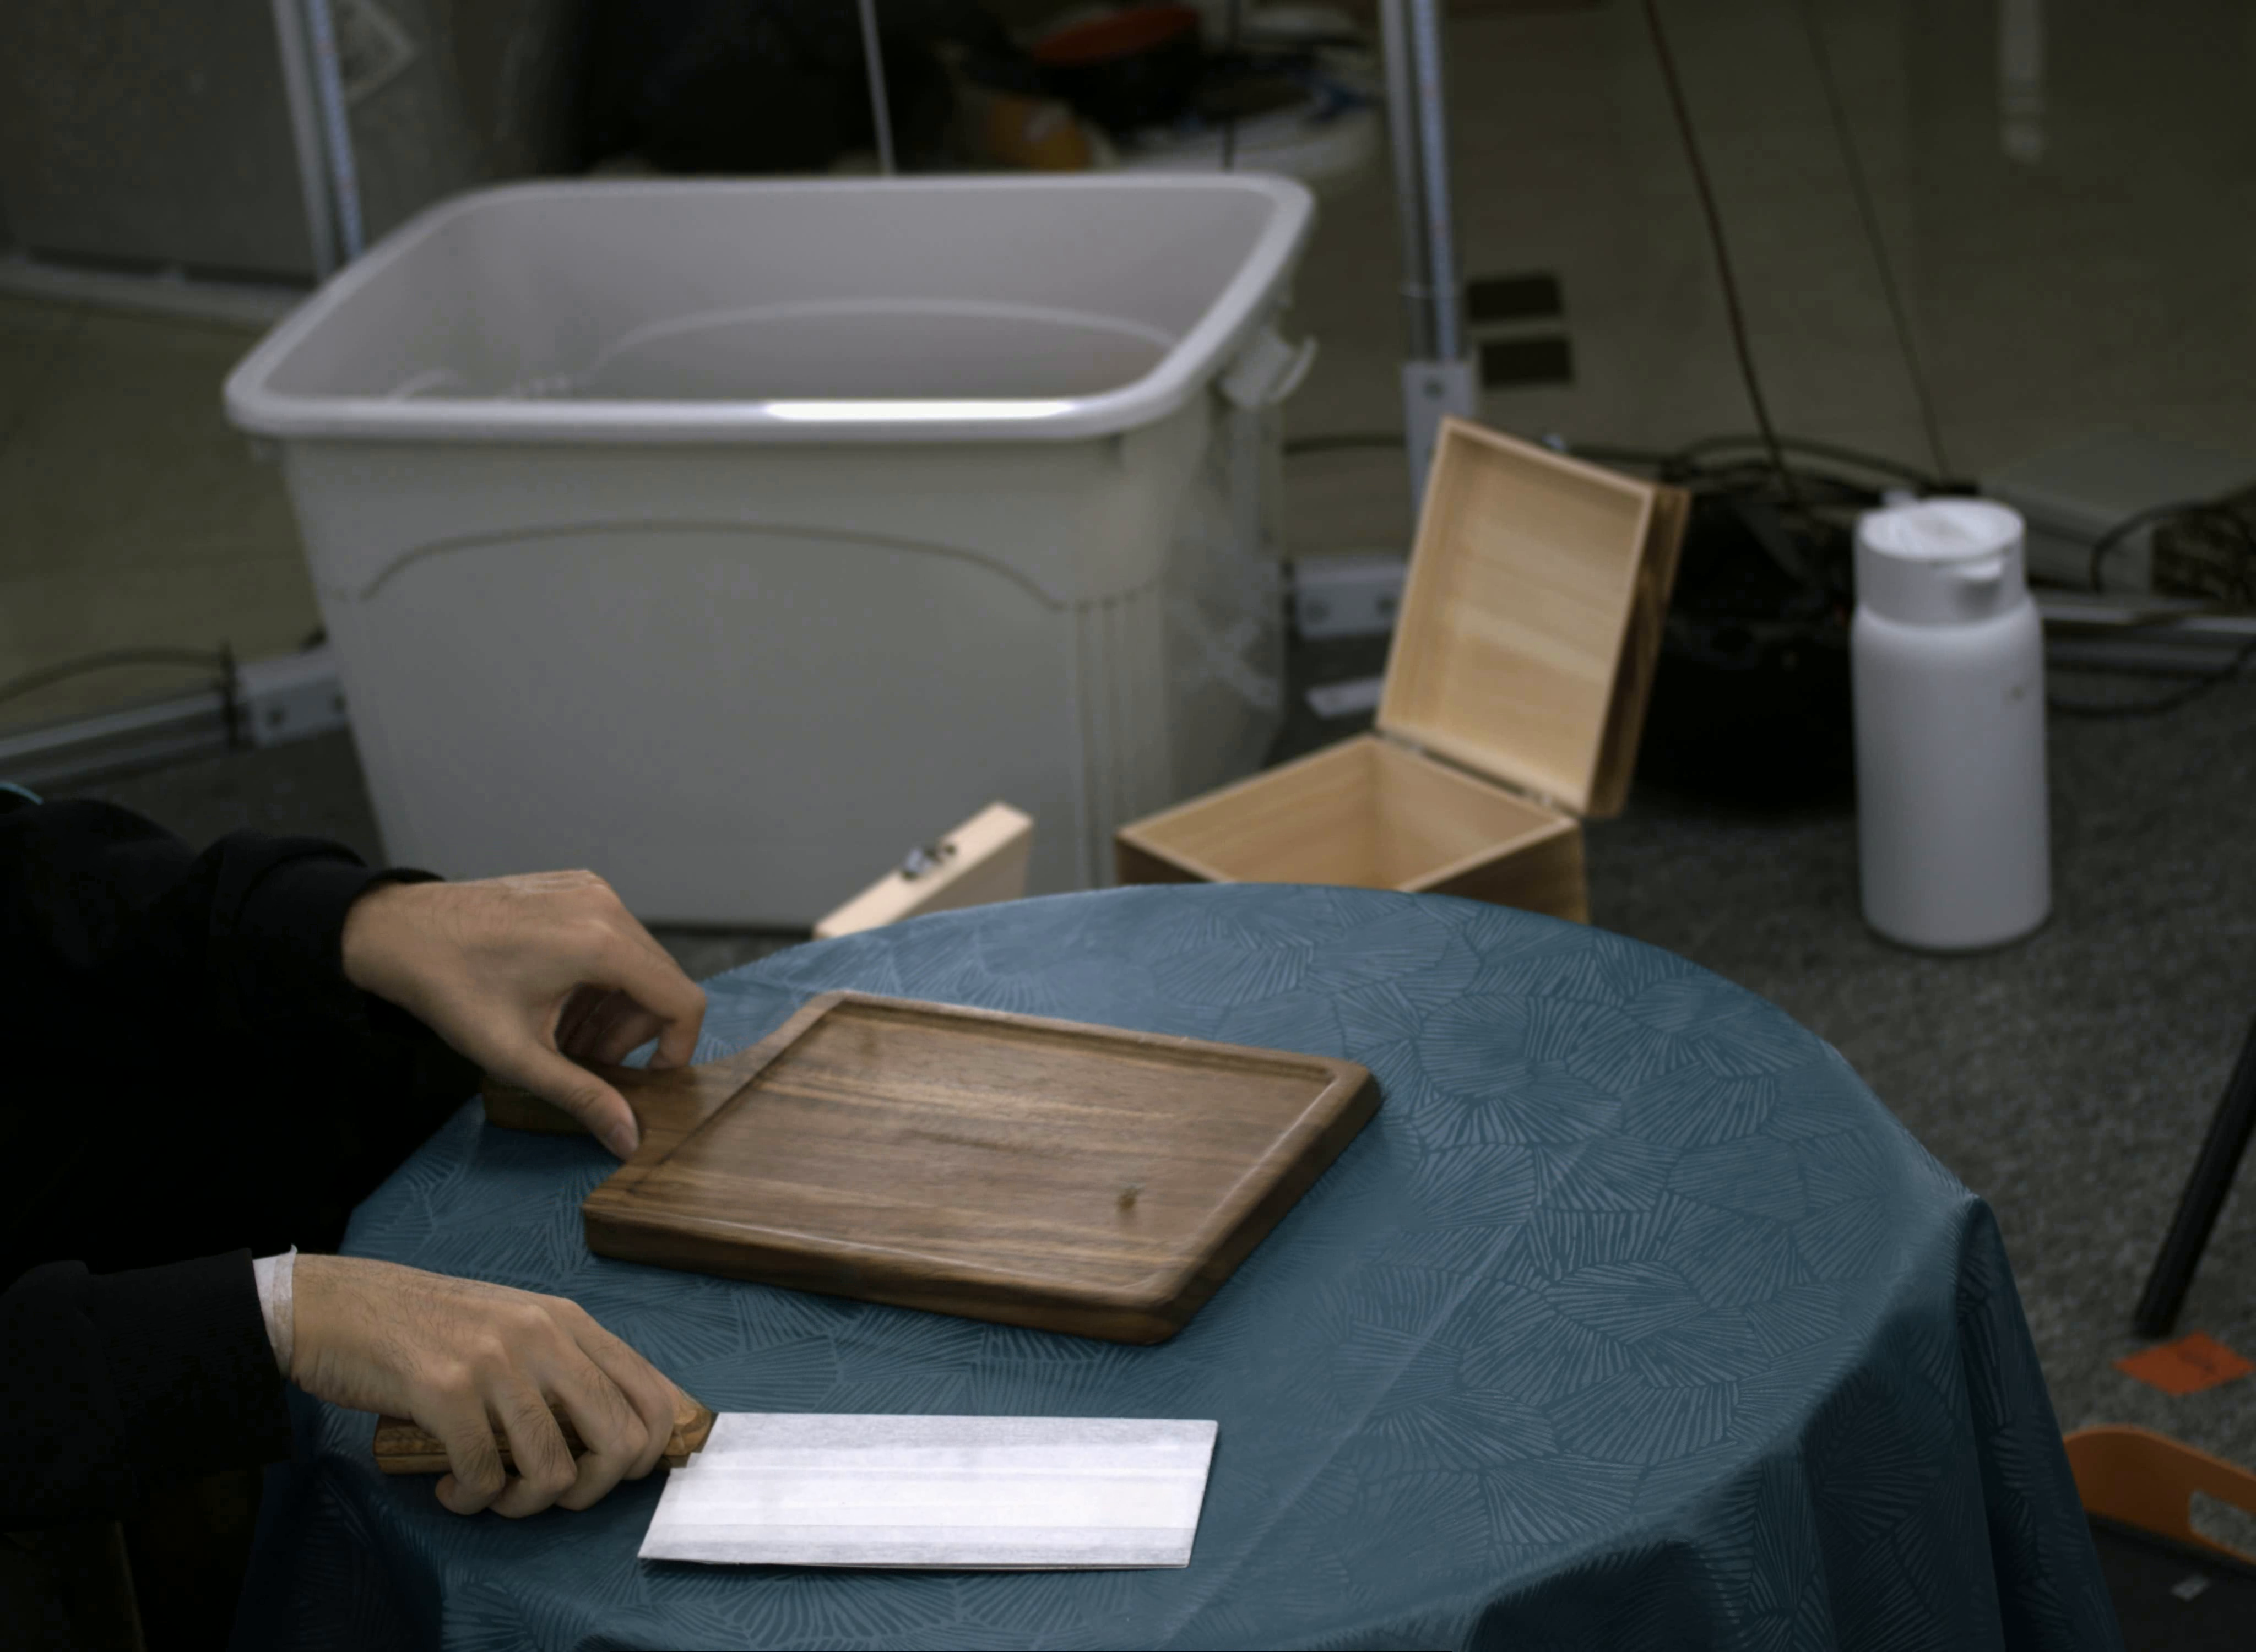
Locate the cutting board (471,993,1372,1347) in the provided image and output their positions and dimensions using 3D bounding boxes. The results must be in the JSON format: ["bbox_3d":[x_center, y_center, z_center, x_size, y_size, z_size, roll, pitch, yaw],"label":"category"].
[{"bbox_3d":[-0.101,0.122,2.183,0.351,0.023,0.198,7,28,27],"label":"cutting board"}]

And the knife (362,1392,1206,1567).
[{"bbox_3d":[-0.124,0.228,1.970,0.305,0.021,0.091,0,29,9],"label":"knife"}]
